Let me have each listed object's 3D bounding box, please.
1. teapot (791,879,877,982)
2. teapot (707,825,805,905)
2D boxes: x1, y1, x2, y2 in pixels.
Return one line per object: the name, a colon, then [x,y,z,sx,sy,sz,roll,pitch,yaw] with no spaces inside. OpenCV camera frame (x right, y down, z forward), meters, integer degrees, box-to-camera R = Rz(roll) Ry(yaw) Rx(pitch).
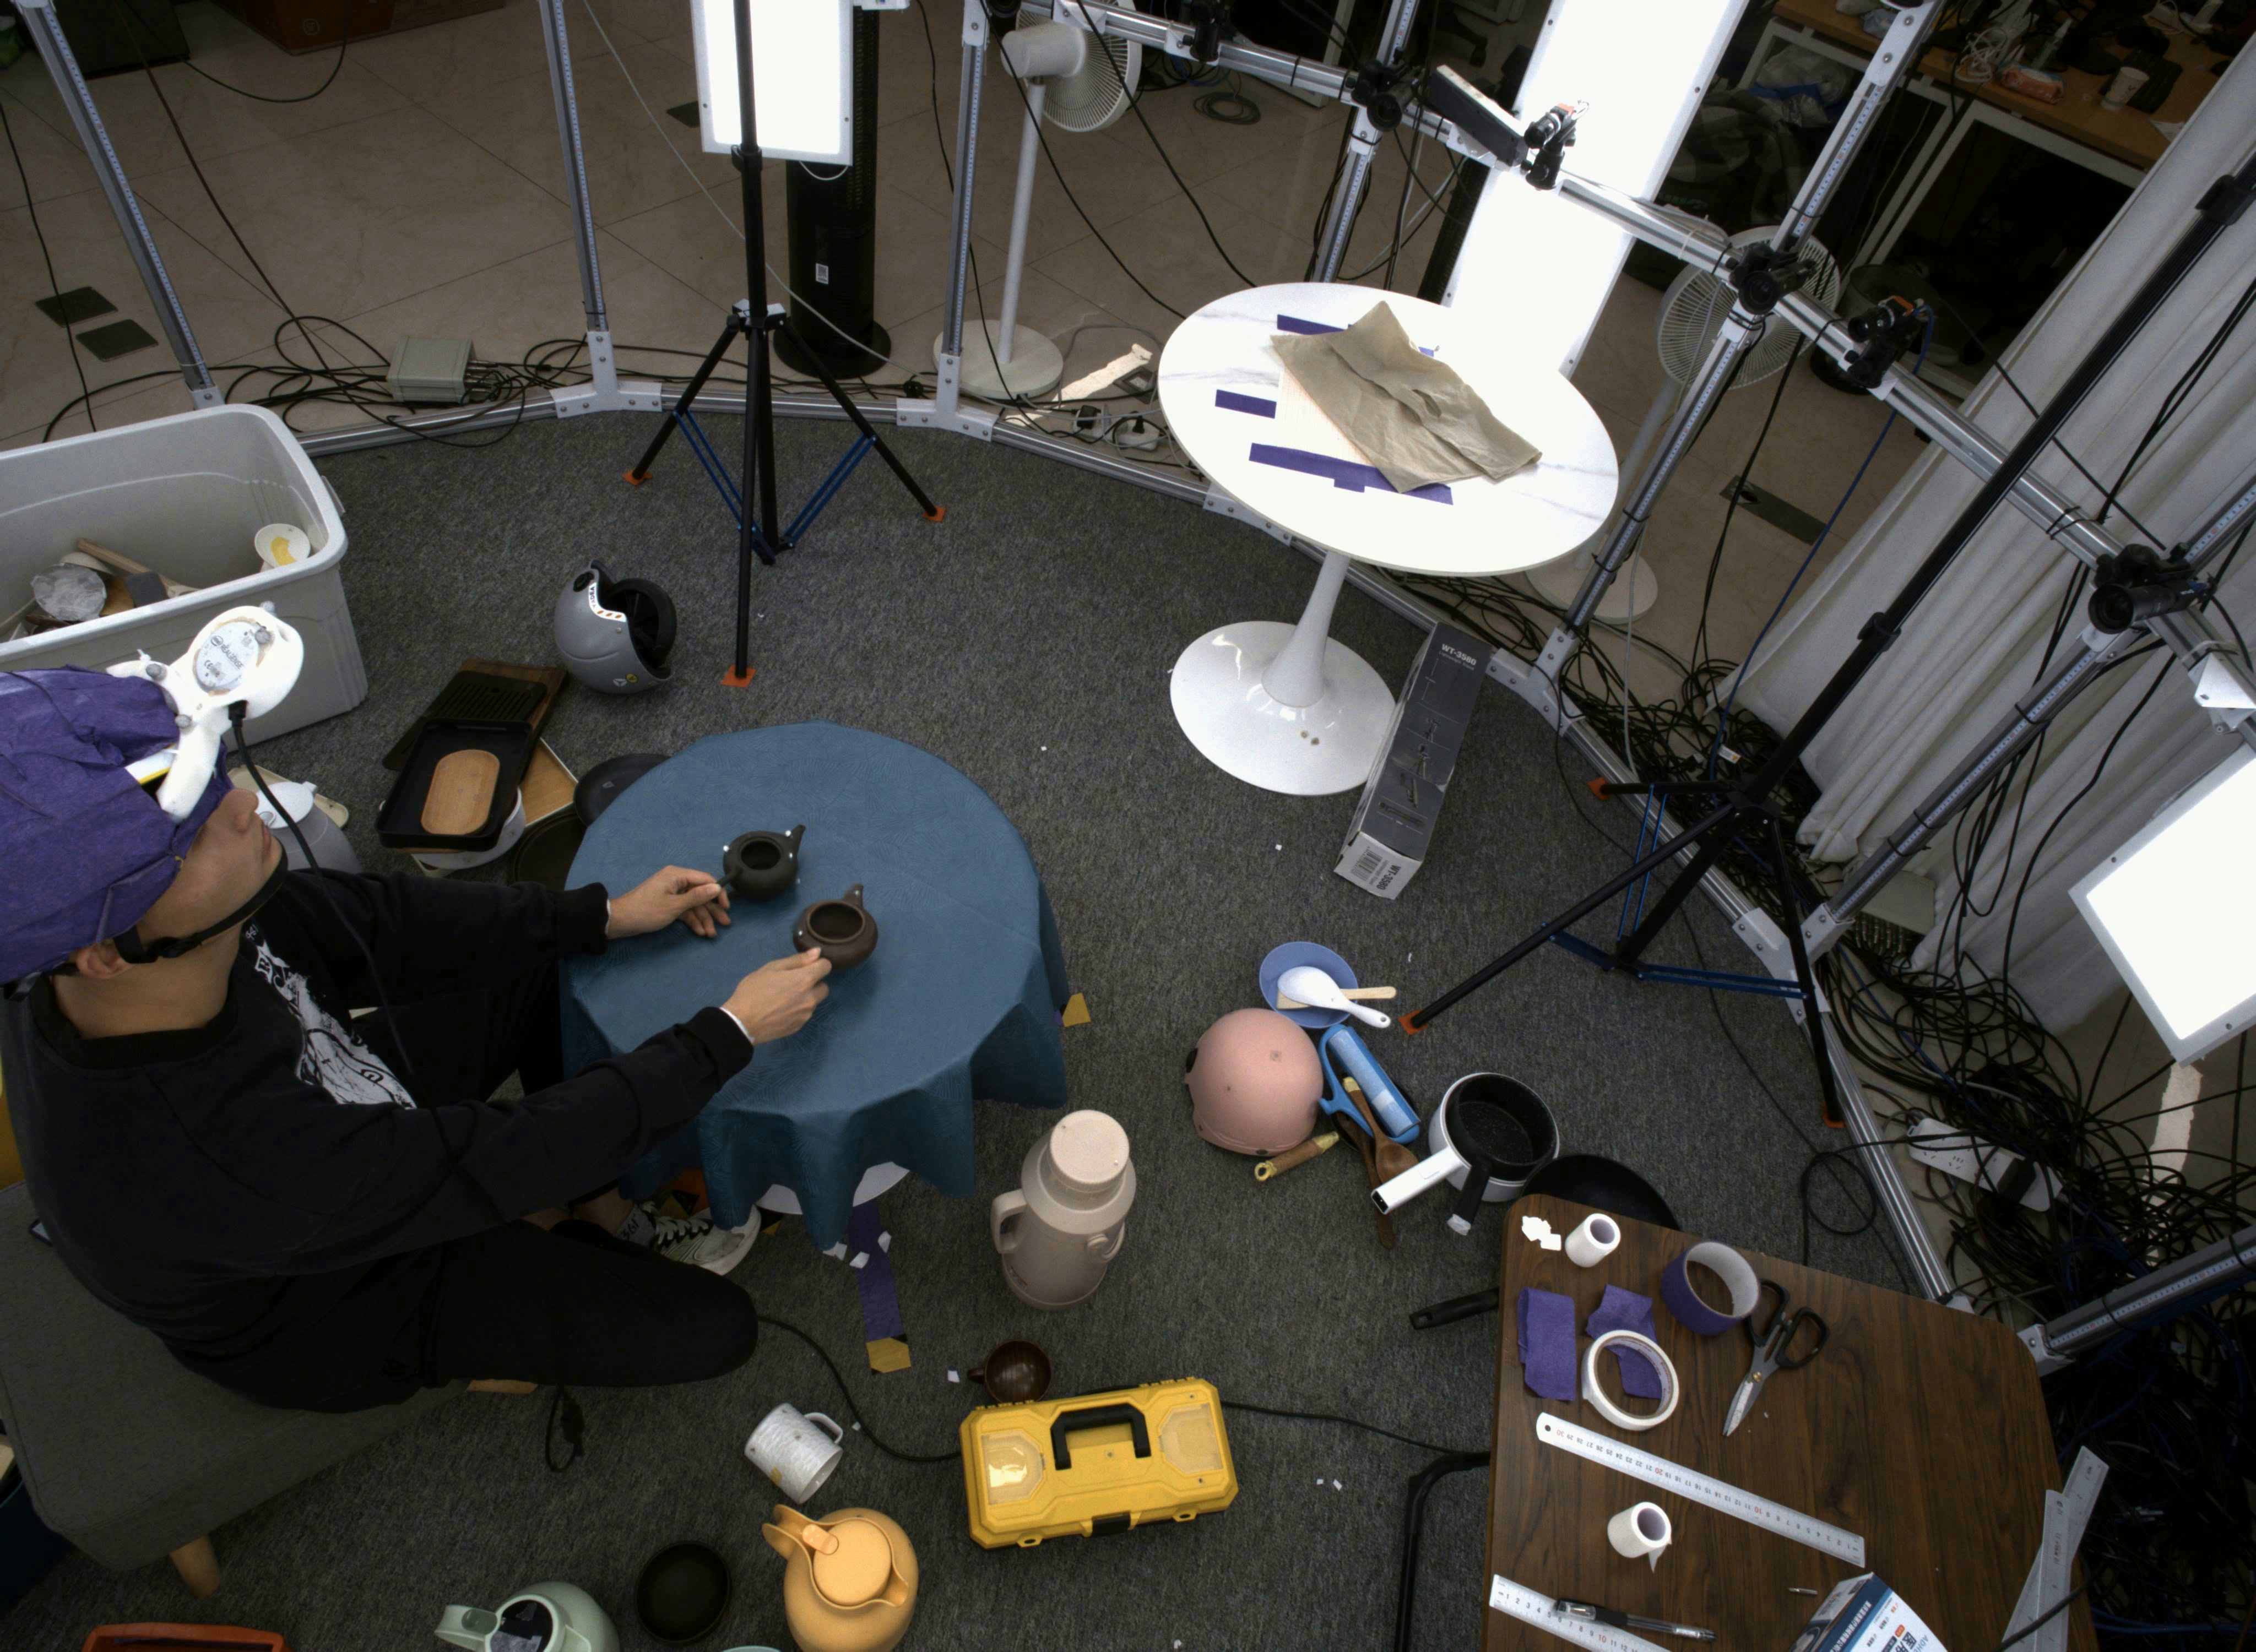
teapot: [-0.355,0.127,1.564,0.101,0.055,0.151,13,39,1]
teapot: [-0.466,0.050,1.631,0.090,0.066,0.154,37,51,17]
